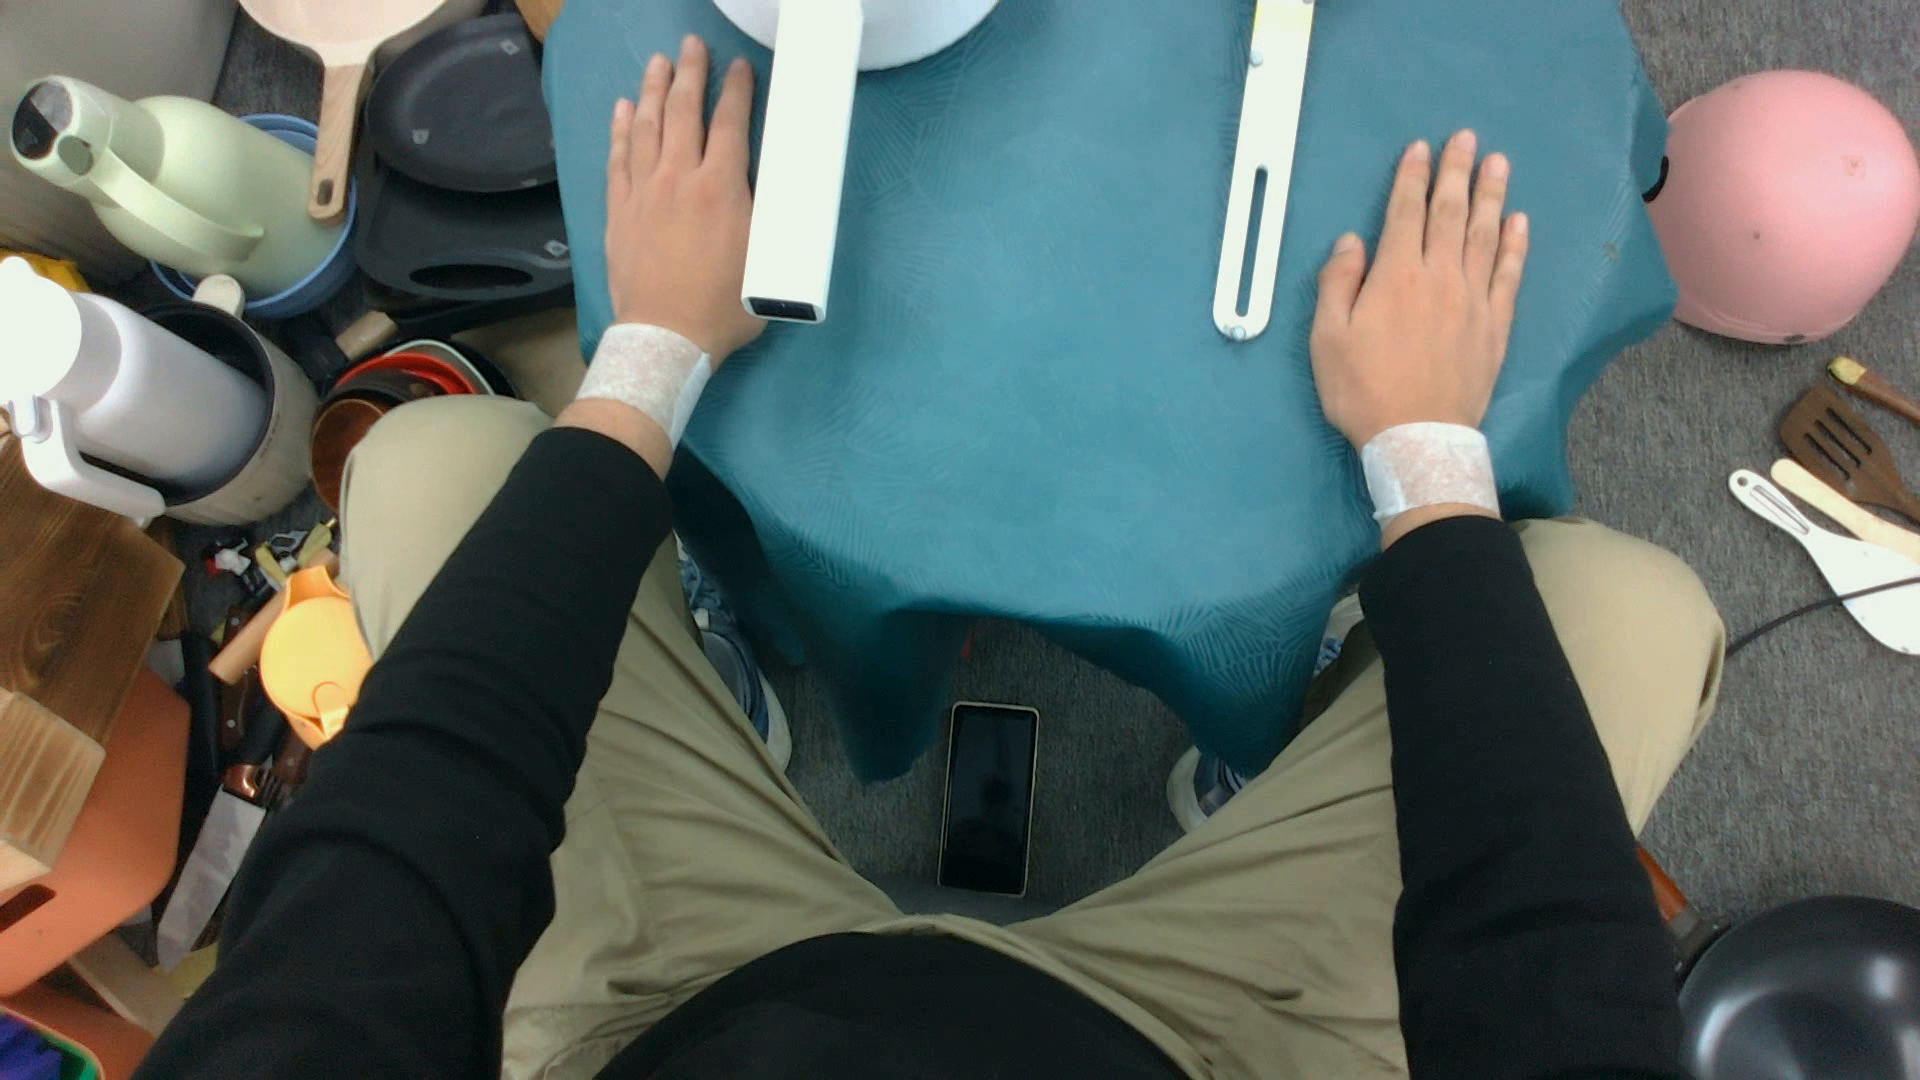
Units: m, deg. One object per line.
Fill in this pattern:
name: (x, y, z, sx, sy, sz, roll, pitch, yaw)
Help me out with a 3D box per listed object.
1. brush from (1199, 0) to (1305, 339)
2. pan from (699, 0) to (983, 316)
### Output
brush: (0.164, -0.242, 0.740, 0.068, 0.056, 0.267, 9, 80, 6)
pan: (-0.075, -0.280, 0.724, 0.201, 0.102, 0.355, 6, 80, 0)
